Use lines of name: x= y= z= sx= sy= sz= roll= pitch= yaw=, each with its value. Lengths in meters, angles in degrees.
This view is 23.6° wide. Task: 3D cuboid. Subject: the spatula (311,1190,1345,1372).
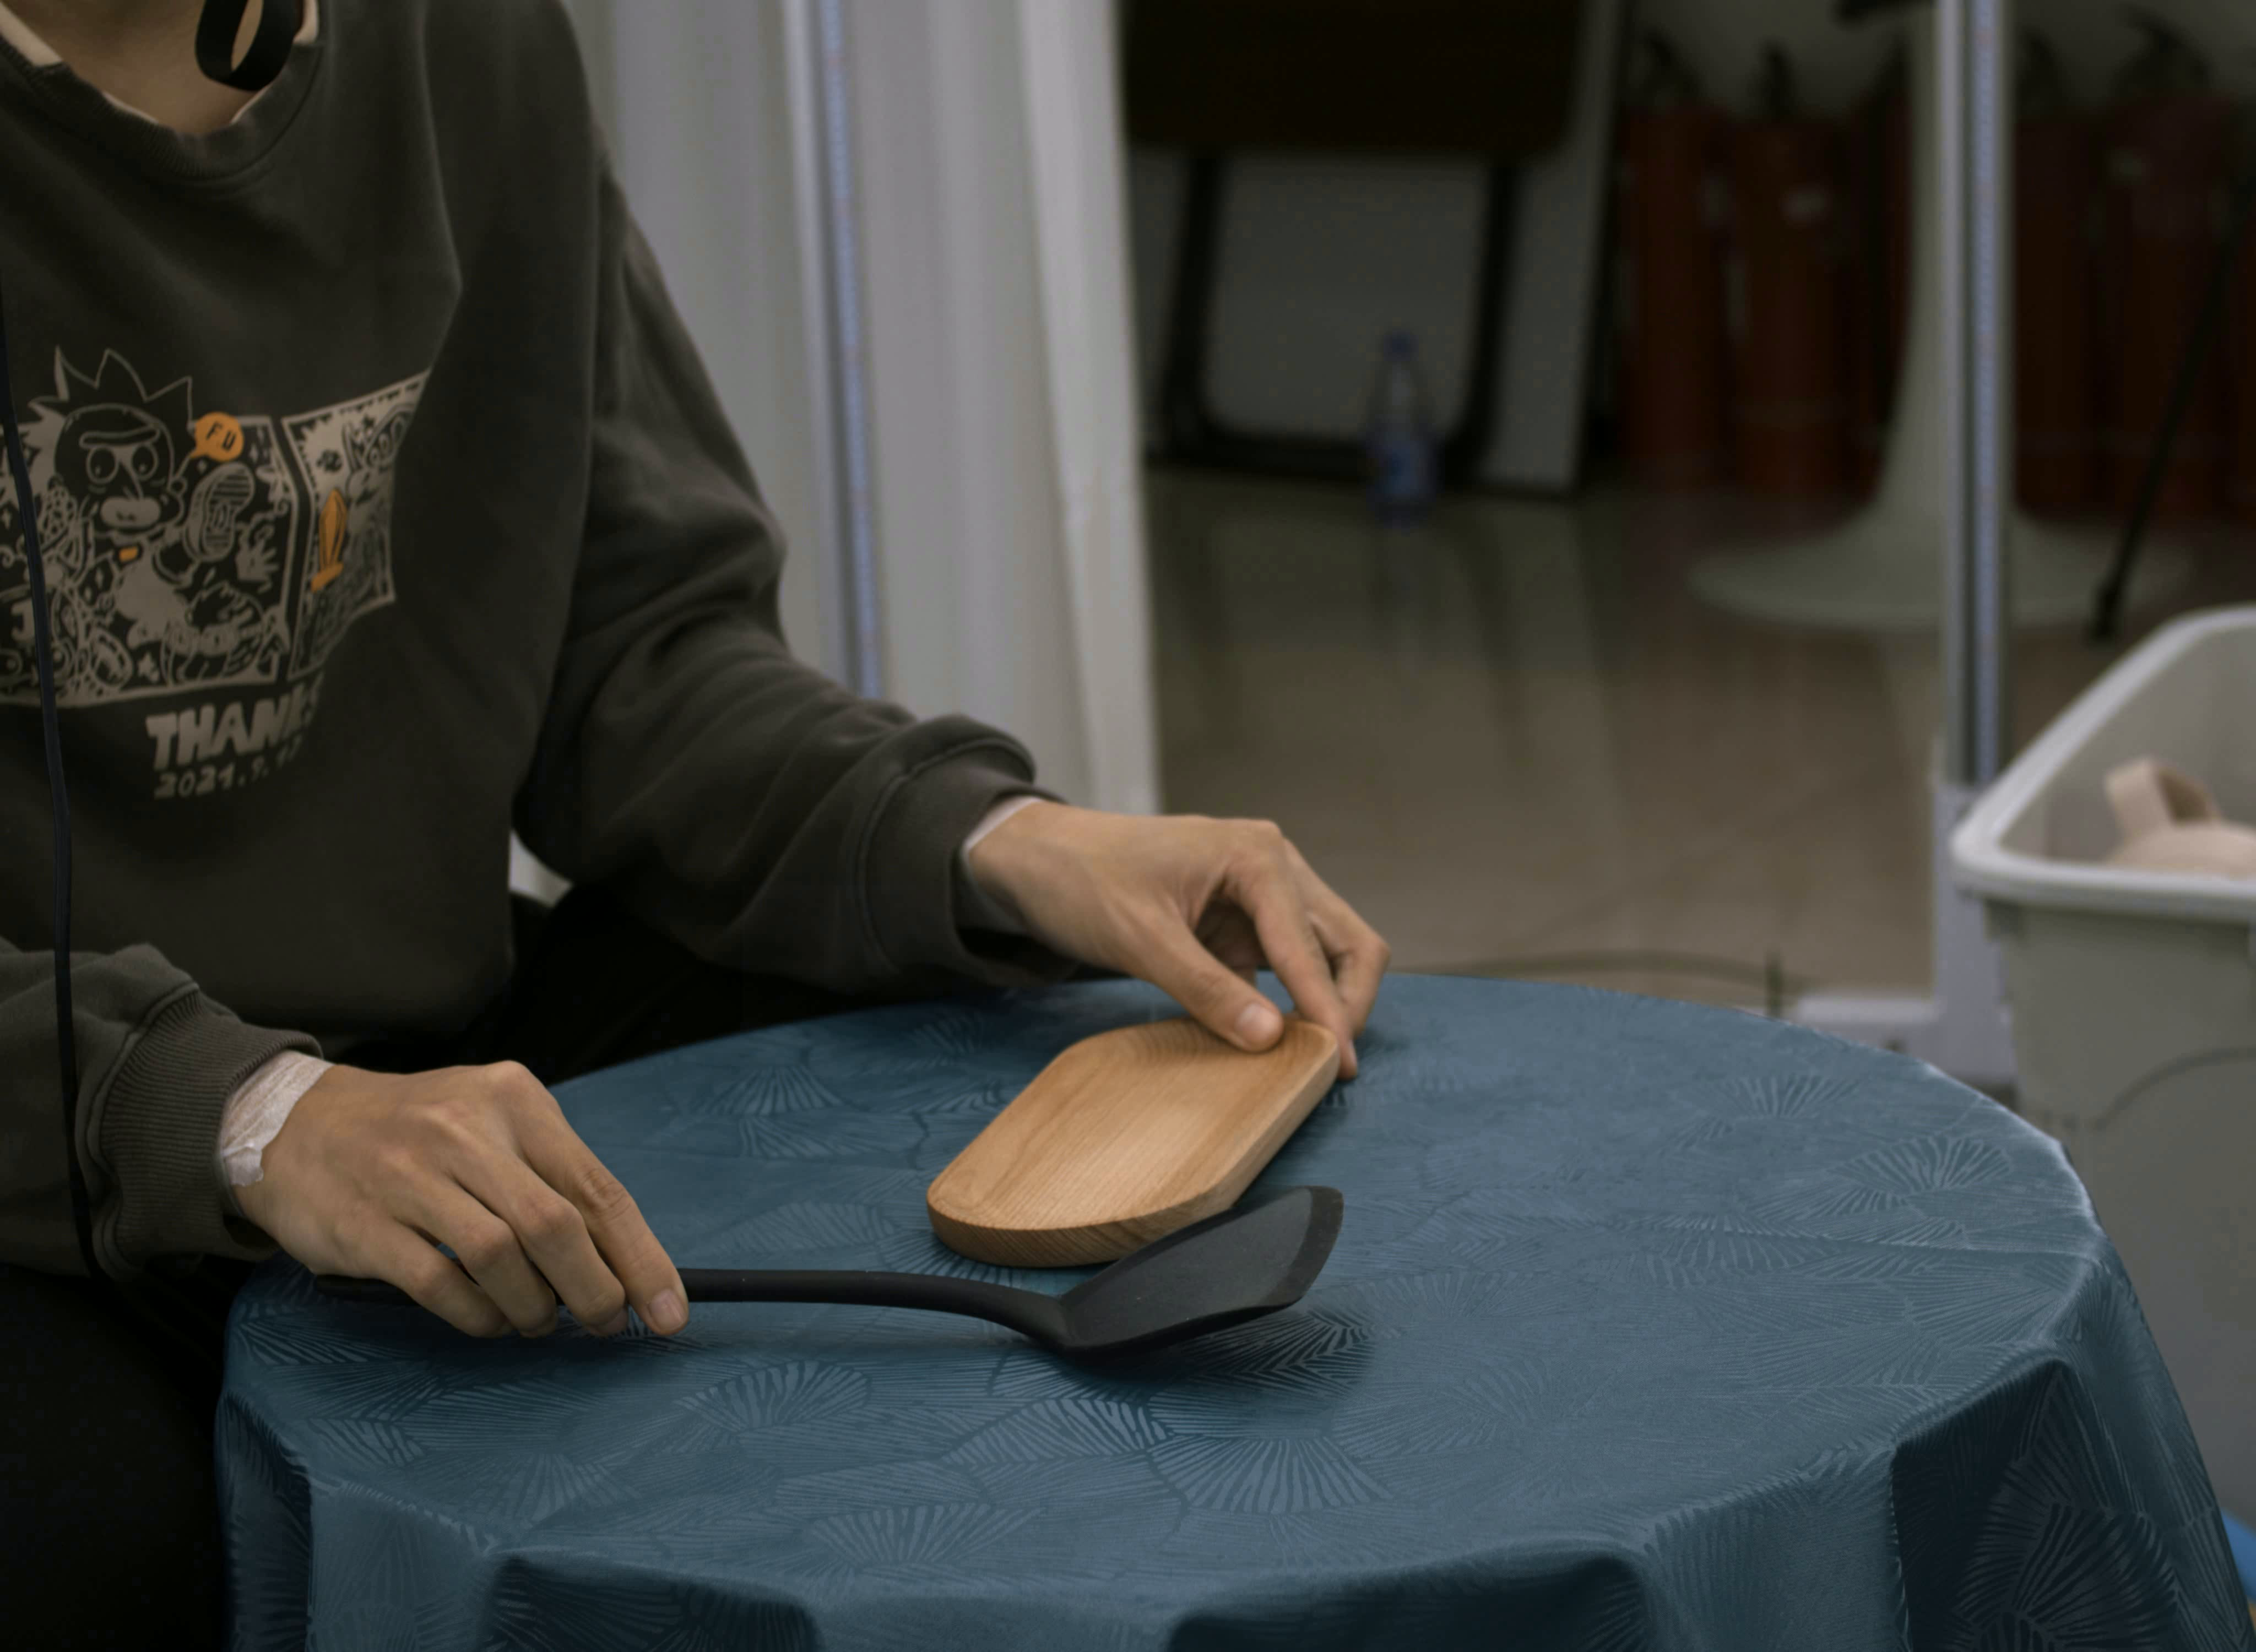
spatula: x=-0.095 y=0.136 z=1.645 sx=0.324 sy=0.041 sz=0.099 roll=2 pitch=16 yaw=12

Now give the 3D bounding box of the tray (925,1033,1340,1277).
tray: x=0.005 y=0.108 z=1.795 sx=0.101 sy=0.020 sz=0.229 roll=-3 pitch=14 yaw=19
